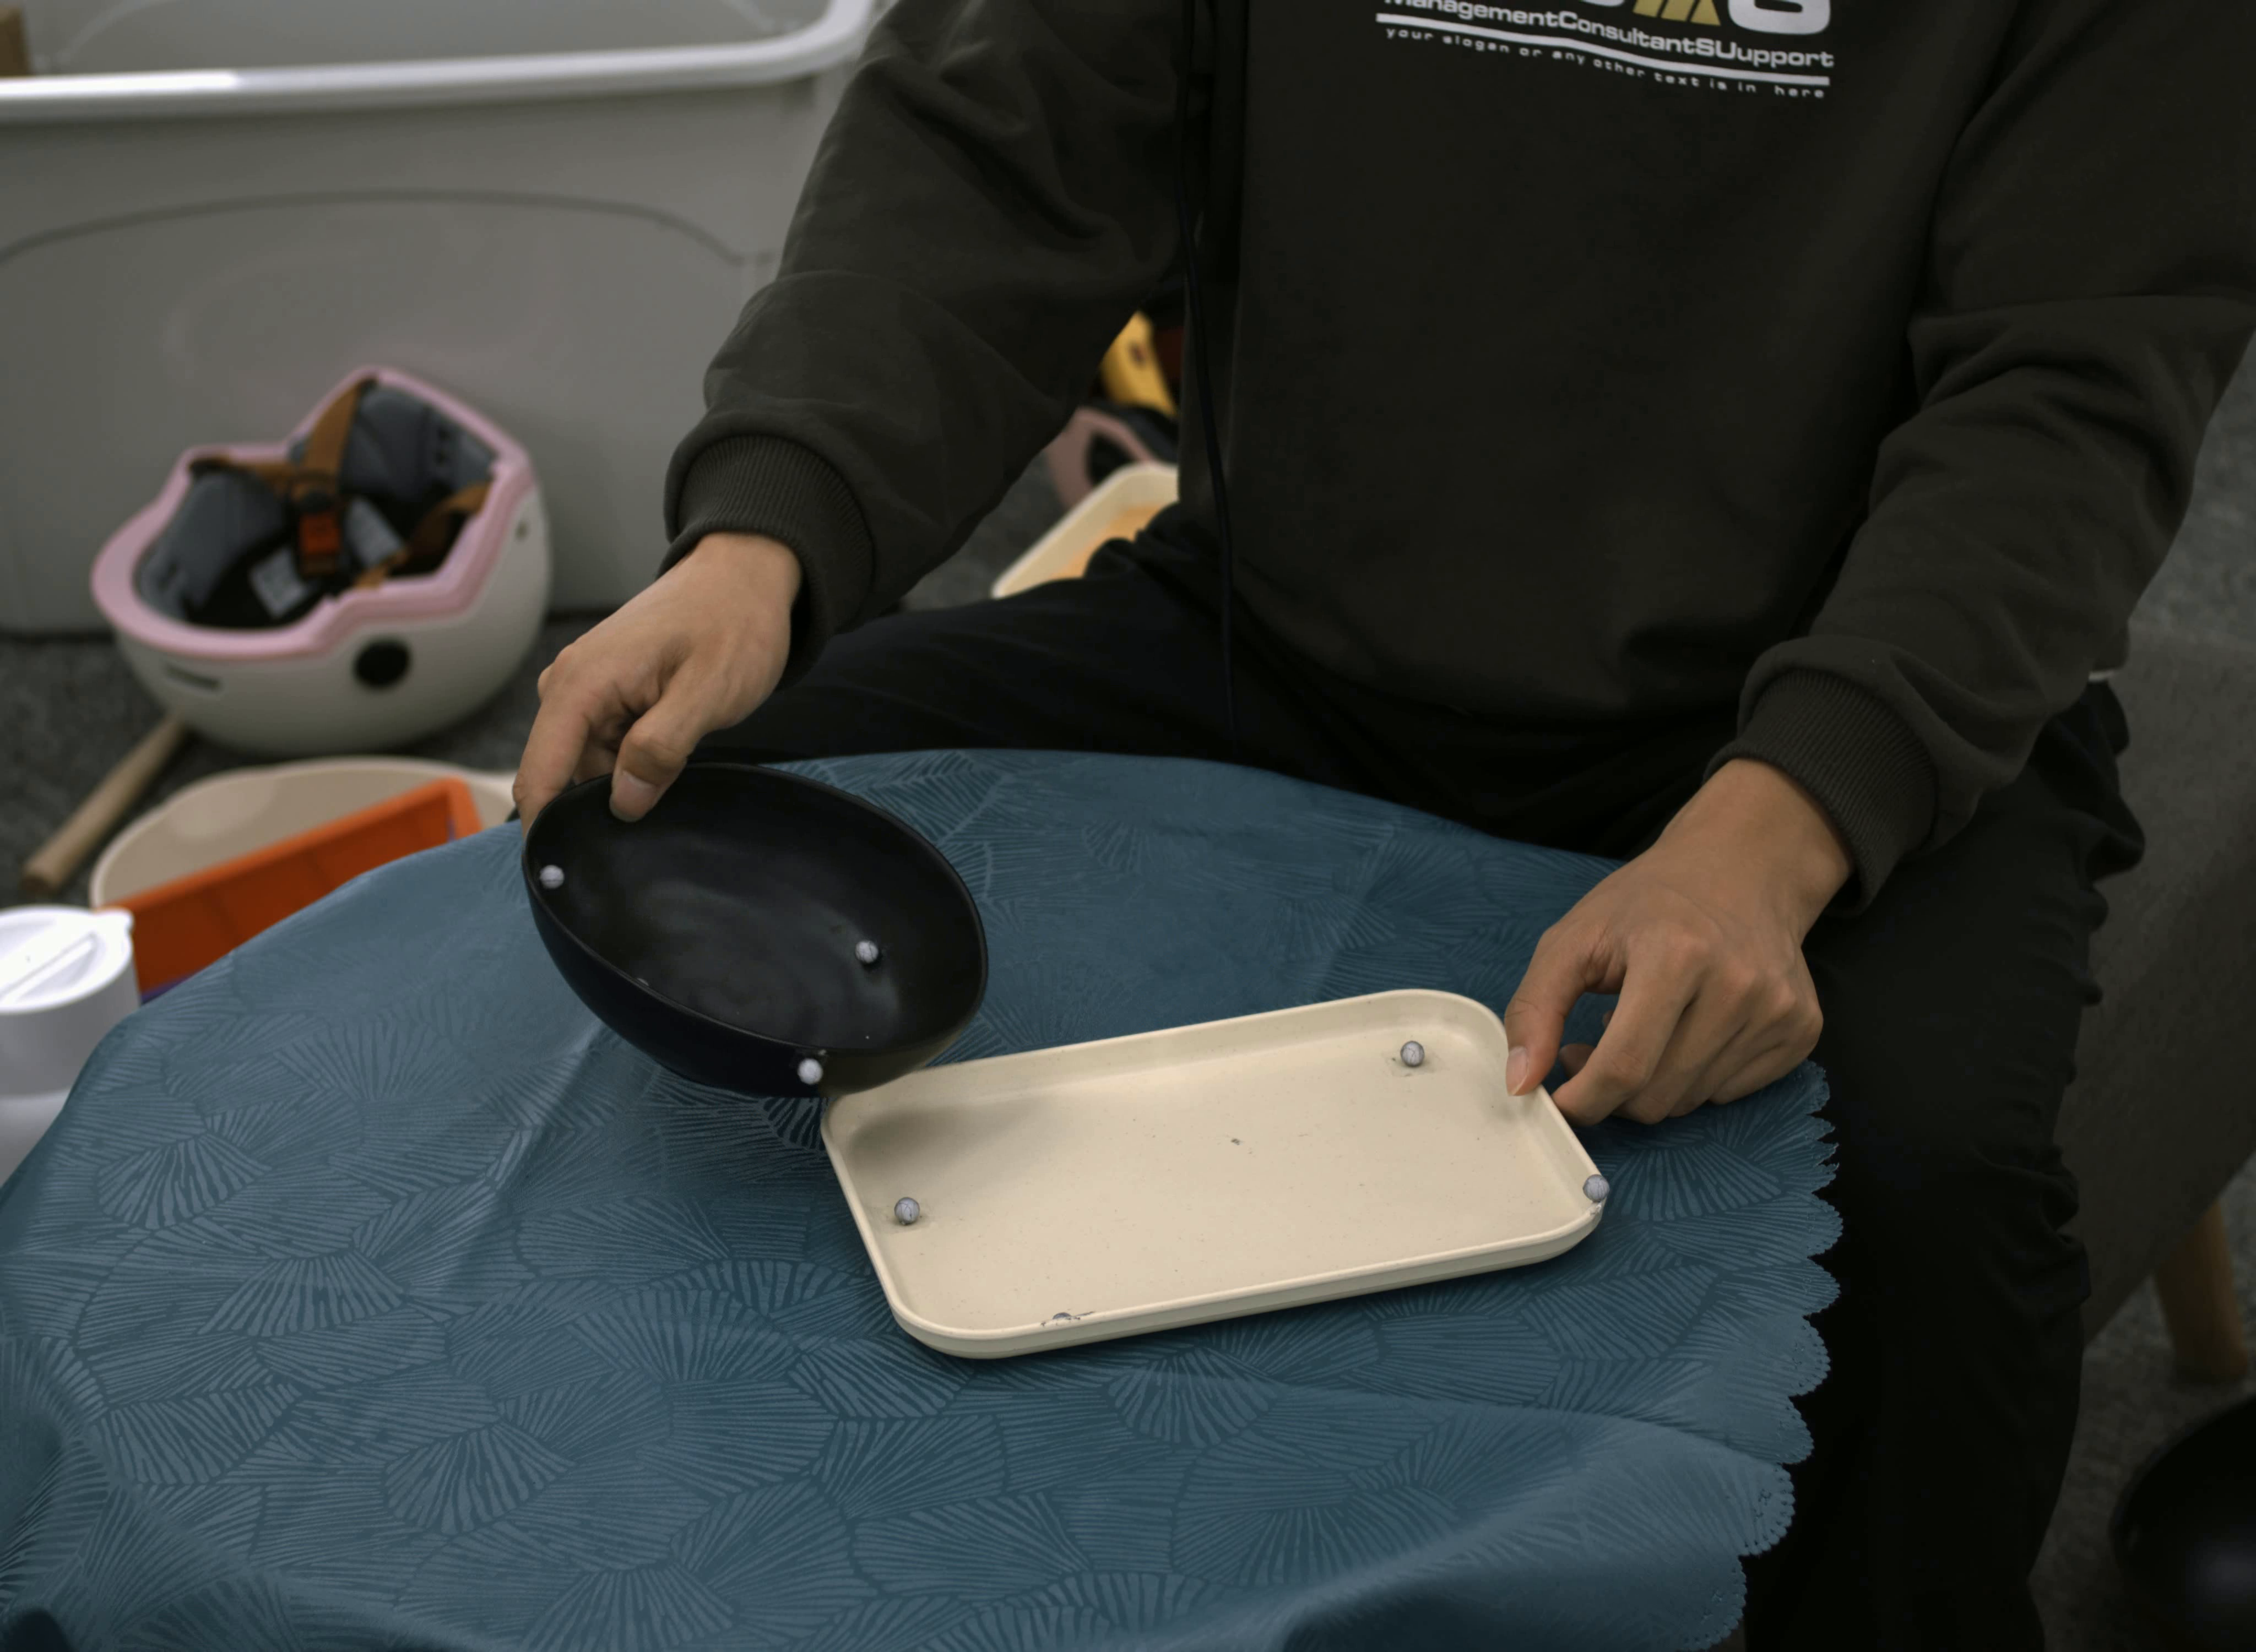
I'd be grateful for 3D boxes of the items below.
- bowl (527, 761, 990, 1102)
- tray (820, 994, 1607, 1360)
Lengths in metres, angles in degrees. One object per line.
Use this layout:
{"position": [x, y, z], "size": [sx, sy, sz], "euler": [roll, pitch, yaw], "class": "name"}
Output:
{"position": [-0.131, 0.047, 1.909], "size": [0.170, 0.065, 0.139], "euler": [27, 38, 15], "class": "bowl"}
{"position": [0.026, 0.116, 1.856], "size": [0.239, 0.017, 0.173], "euler": [-9, 27, -12], "class": "tray"}
